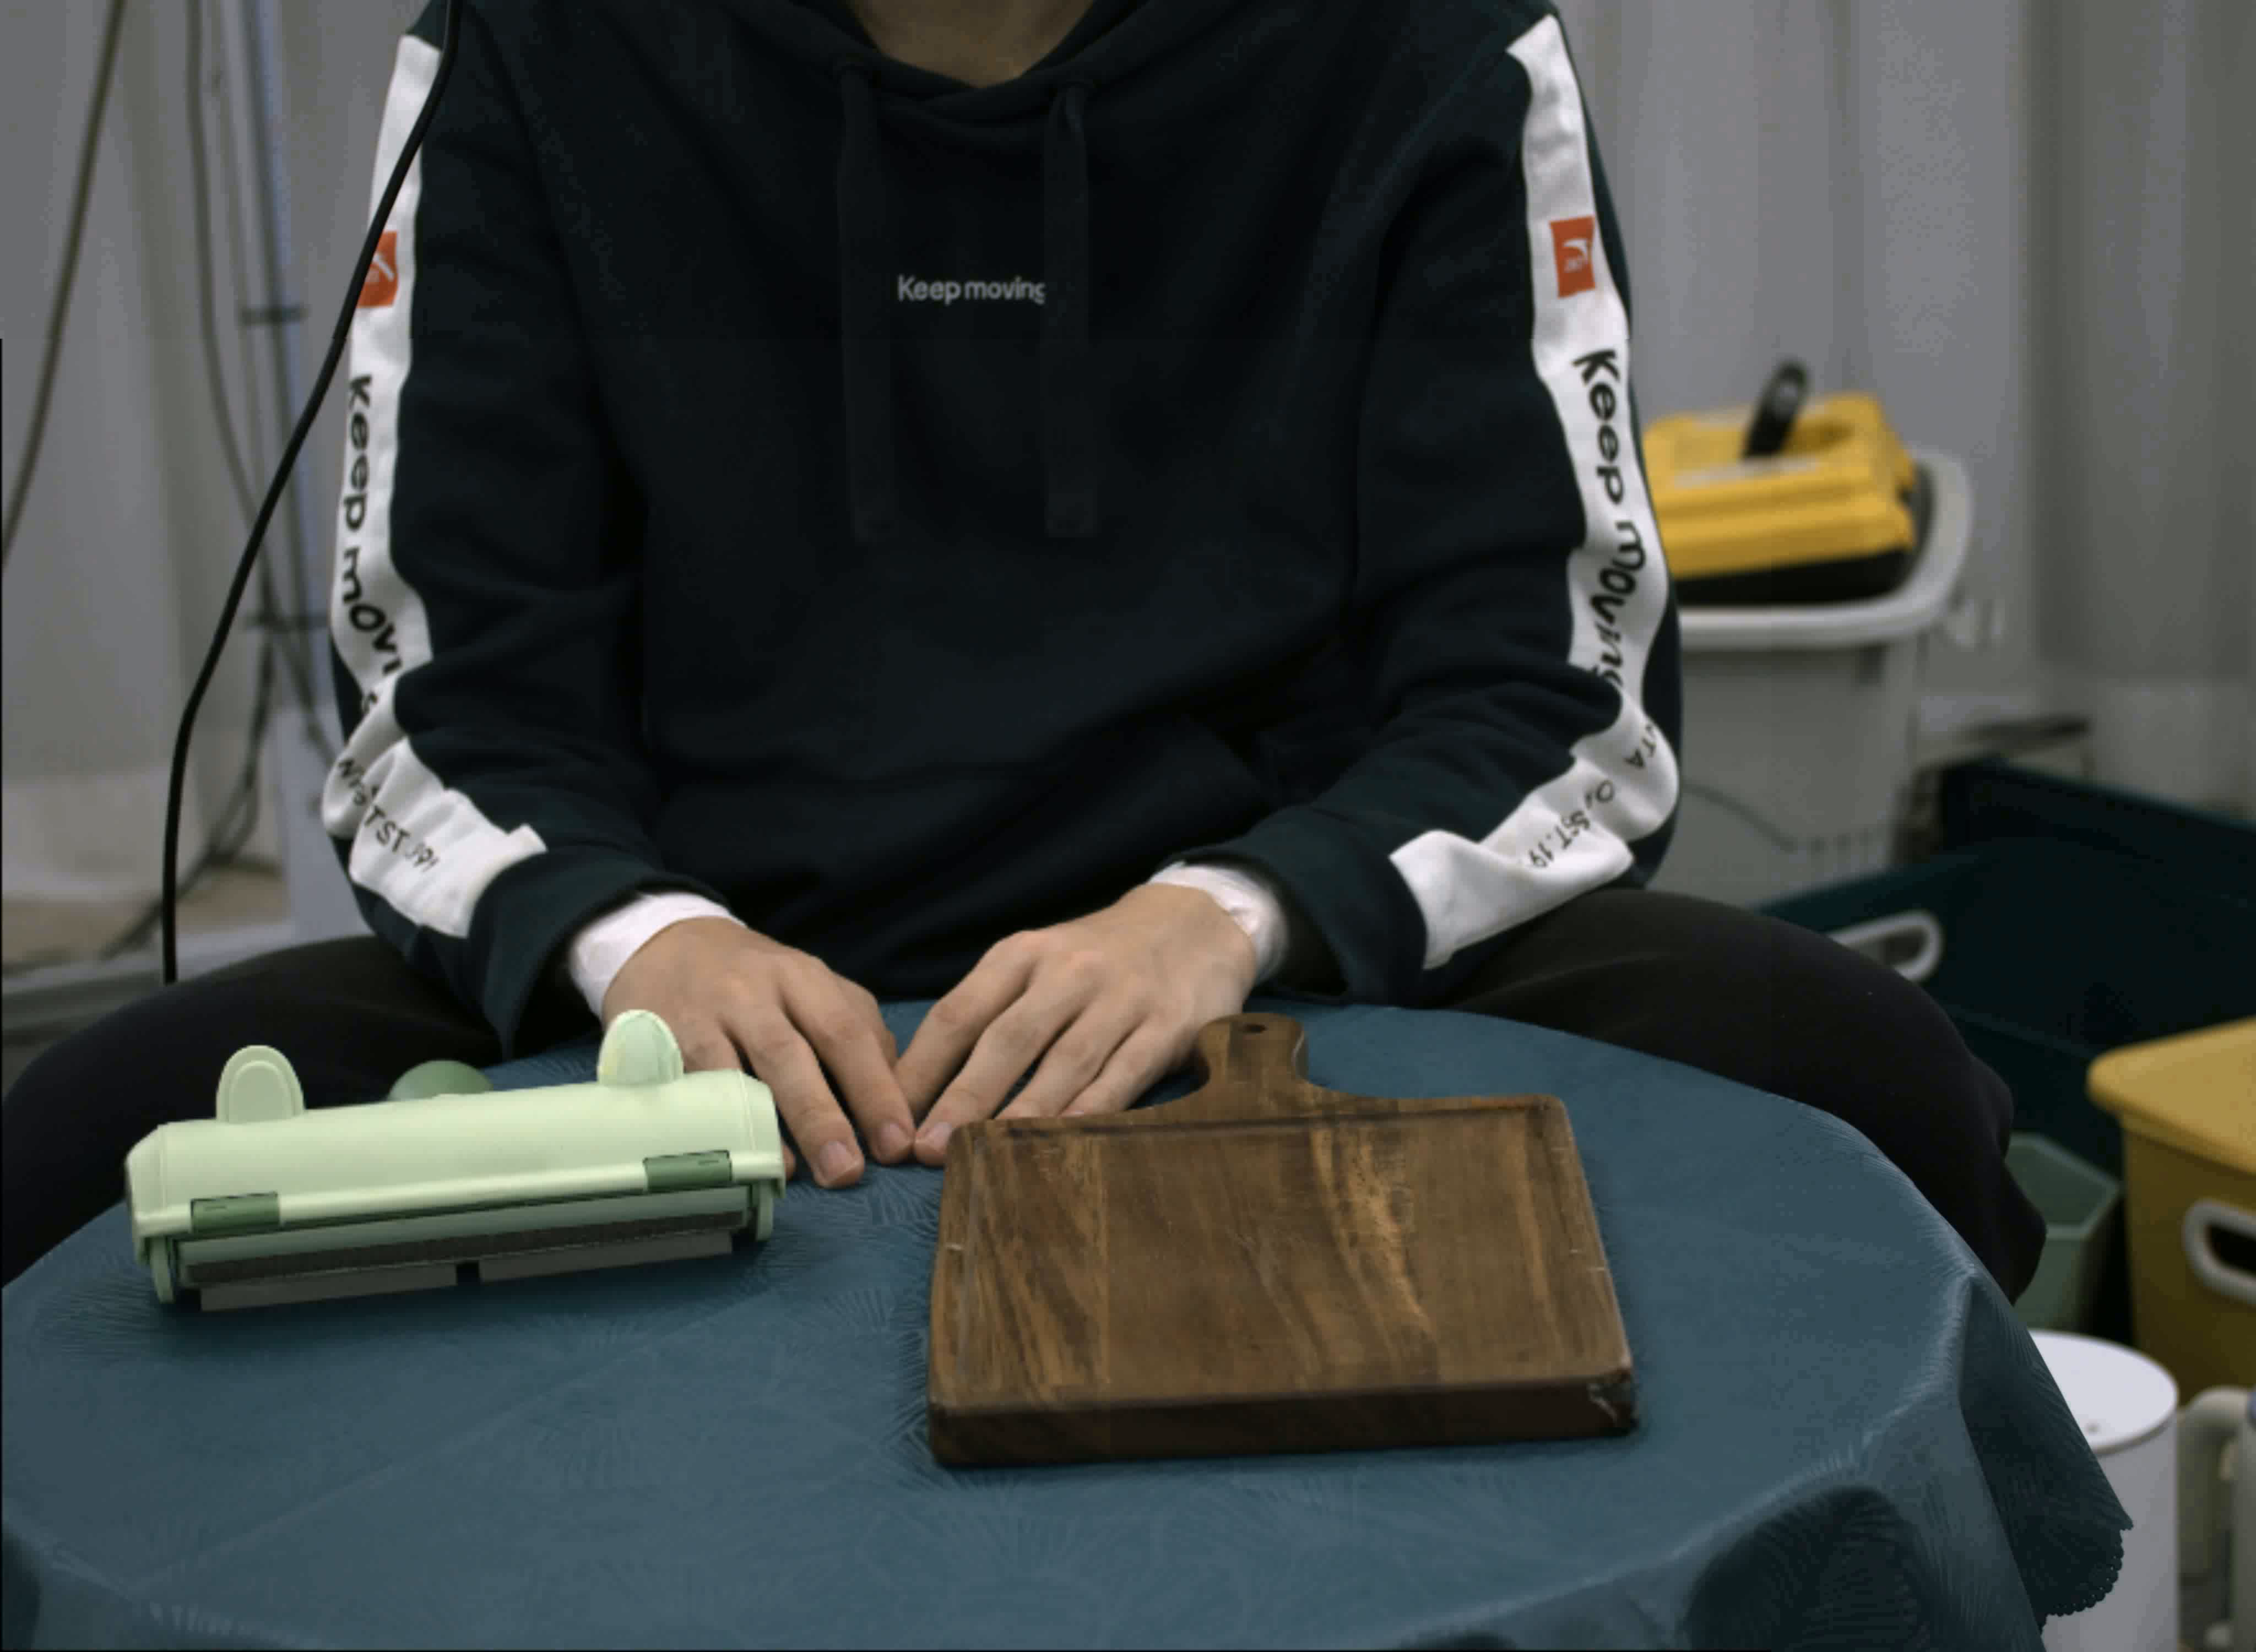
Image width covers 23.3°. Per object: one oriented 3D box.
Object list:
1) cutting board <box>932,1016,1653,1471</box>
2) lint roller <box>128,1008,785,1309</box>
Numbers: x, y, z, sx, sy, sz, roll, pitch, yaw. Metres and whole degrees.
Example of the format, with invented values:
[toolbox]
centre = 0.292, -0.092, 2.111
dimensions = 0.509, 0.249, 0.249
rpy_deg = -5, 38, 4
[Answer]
[cutting board]
centre = 0.041, 0.118, 1.655
dimensions = 0.200, 0.023, 0.354
rpy_deg = -3, 15, 0
[lint roller]
centre = -0.214, 0.086, 1.717
dimensions = 0.198, 0.082, 0.185
rpy_deg = -6, 19, -9
